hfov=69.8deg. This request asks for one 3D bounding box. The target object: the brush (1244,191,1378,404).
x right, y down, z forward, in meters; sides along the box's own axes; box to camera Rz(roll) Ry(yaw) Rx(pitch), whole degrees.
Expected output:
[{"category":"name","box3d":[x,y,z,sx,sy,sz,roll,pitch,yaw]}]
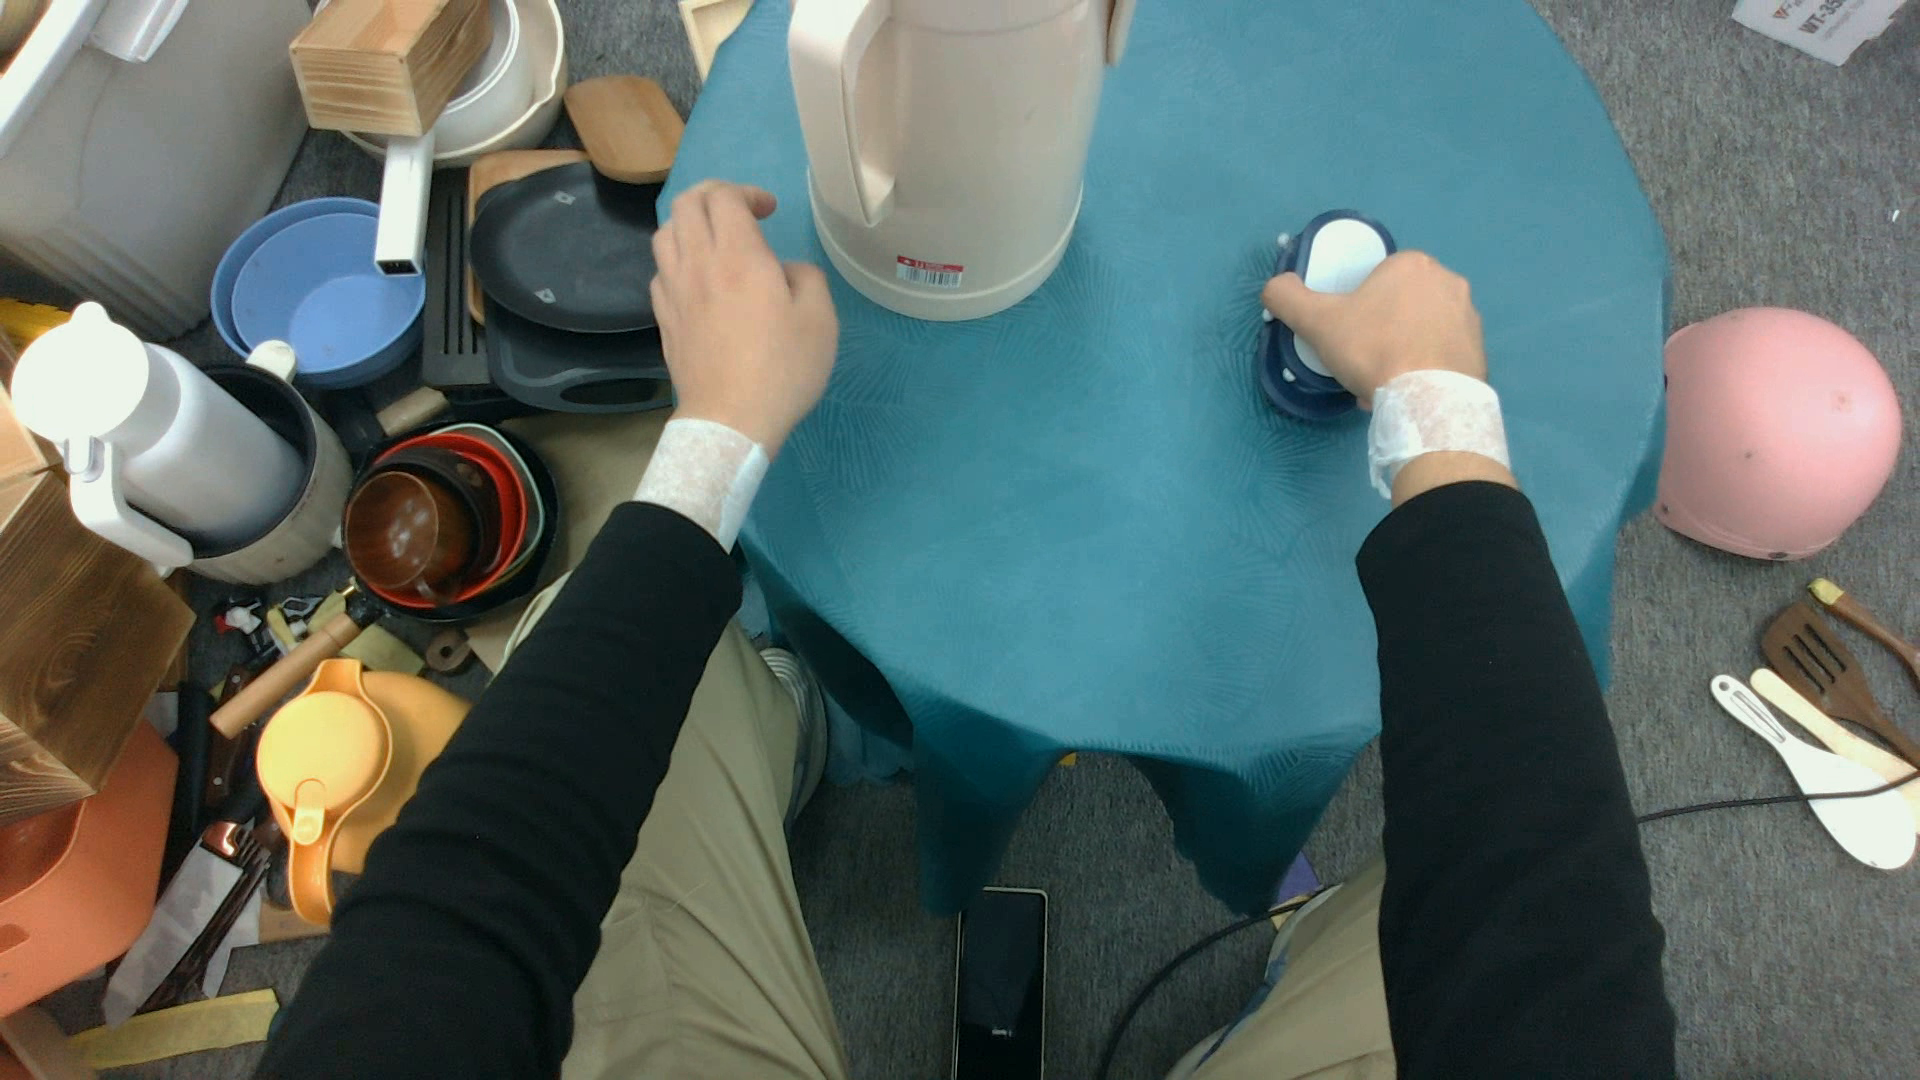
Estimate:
[{"category":"brush","box3d":[0.200,-0.136,0.786,0.068,0.061,0.122,15,72,4]}]

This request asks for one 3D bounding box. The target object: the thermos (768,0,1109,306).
[{"category":"thermos","box3d":[-0.020,-0.254,0.631,0.175,0.405,0.207,29,74,4]}]
